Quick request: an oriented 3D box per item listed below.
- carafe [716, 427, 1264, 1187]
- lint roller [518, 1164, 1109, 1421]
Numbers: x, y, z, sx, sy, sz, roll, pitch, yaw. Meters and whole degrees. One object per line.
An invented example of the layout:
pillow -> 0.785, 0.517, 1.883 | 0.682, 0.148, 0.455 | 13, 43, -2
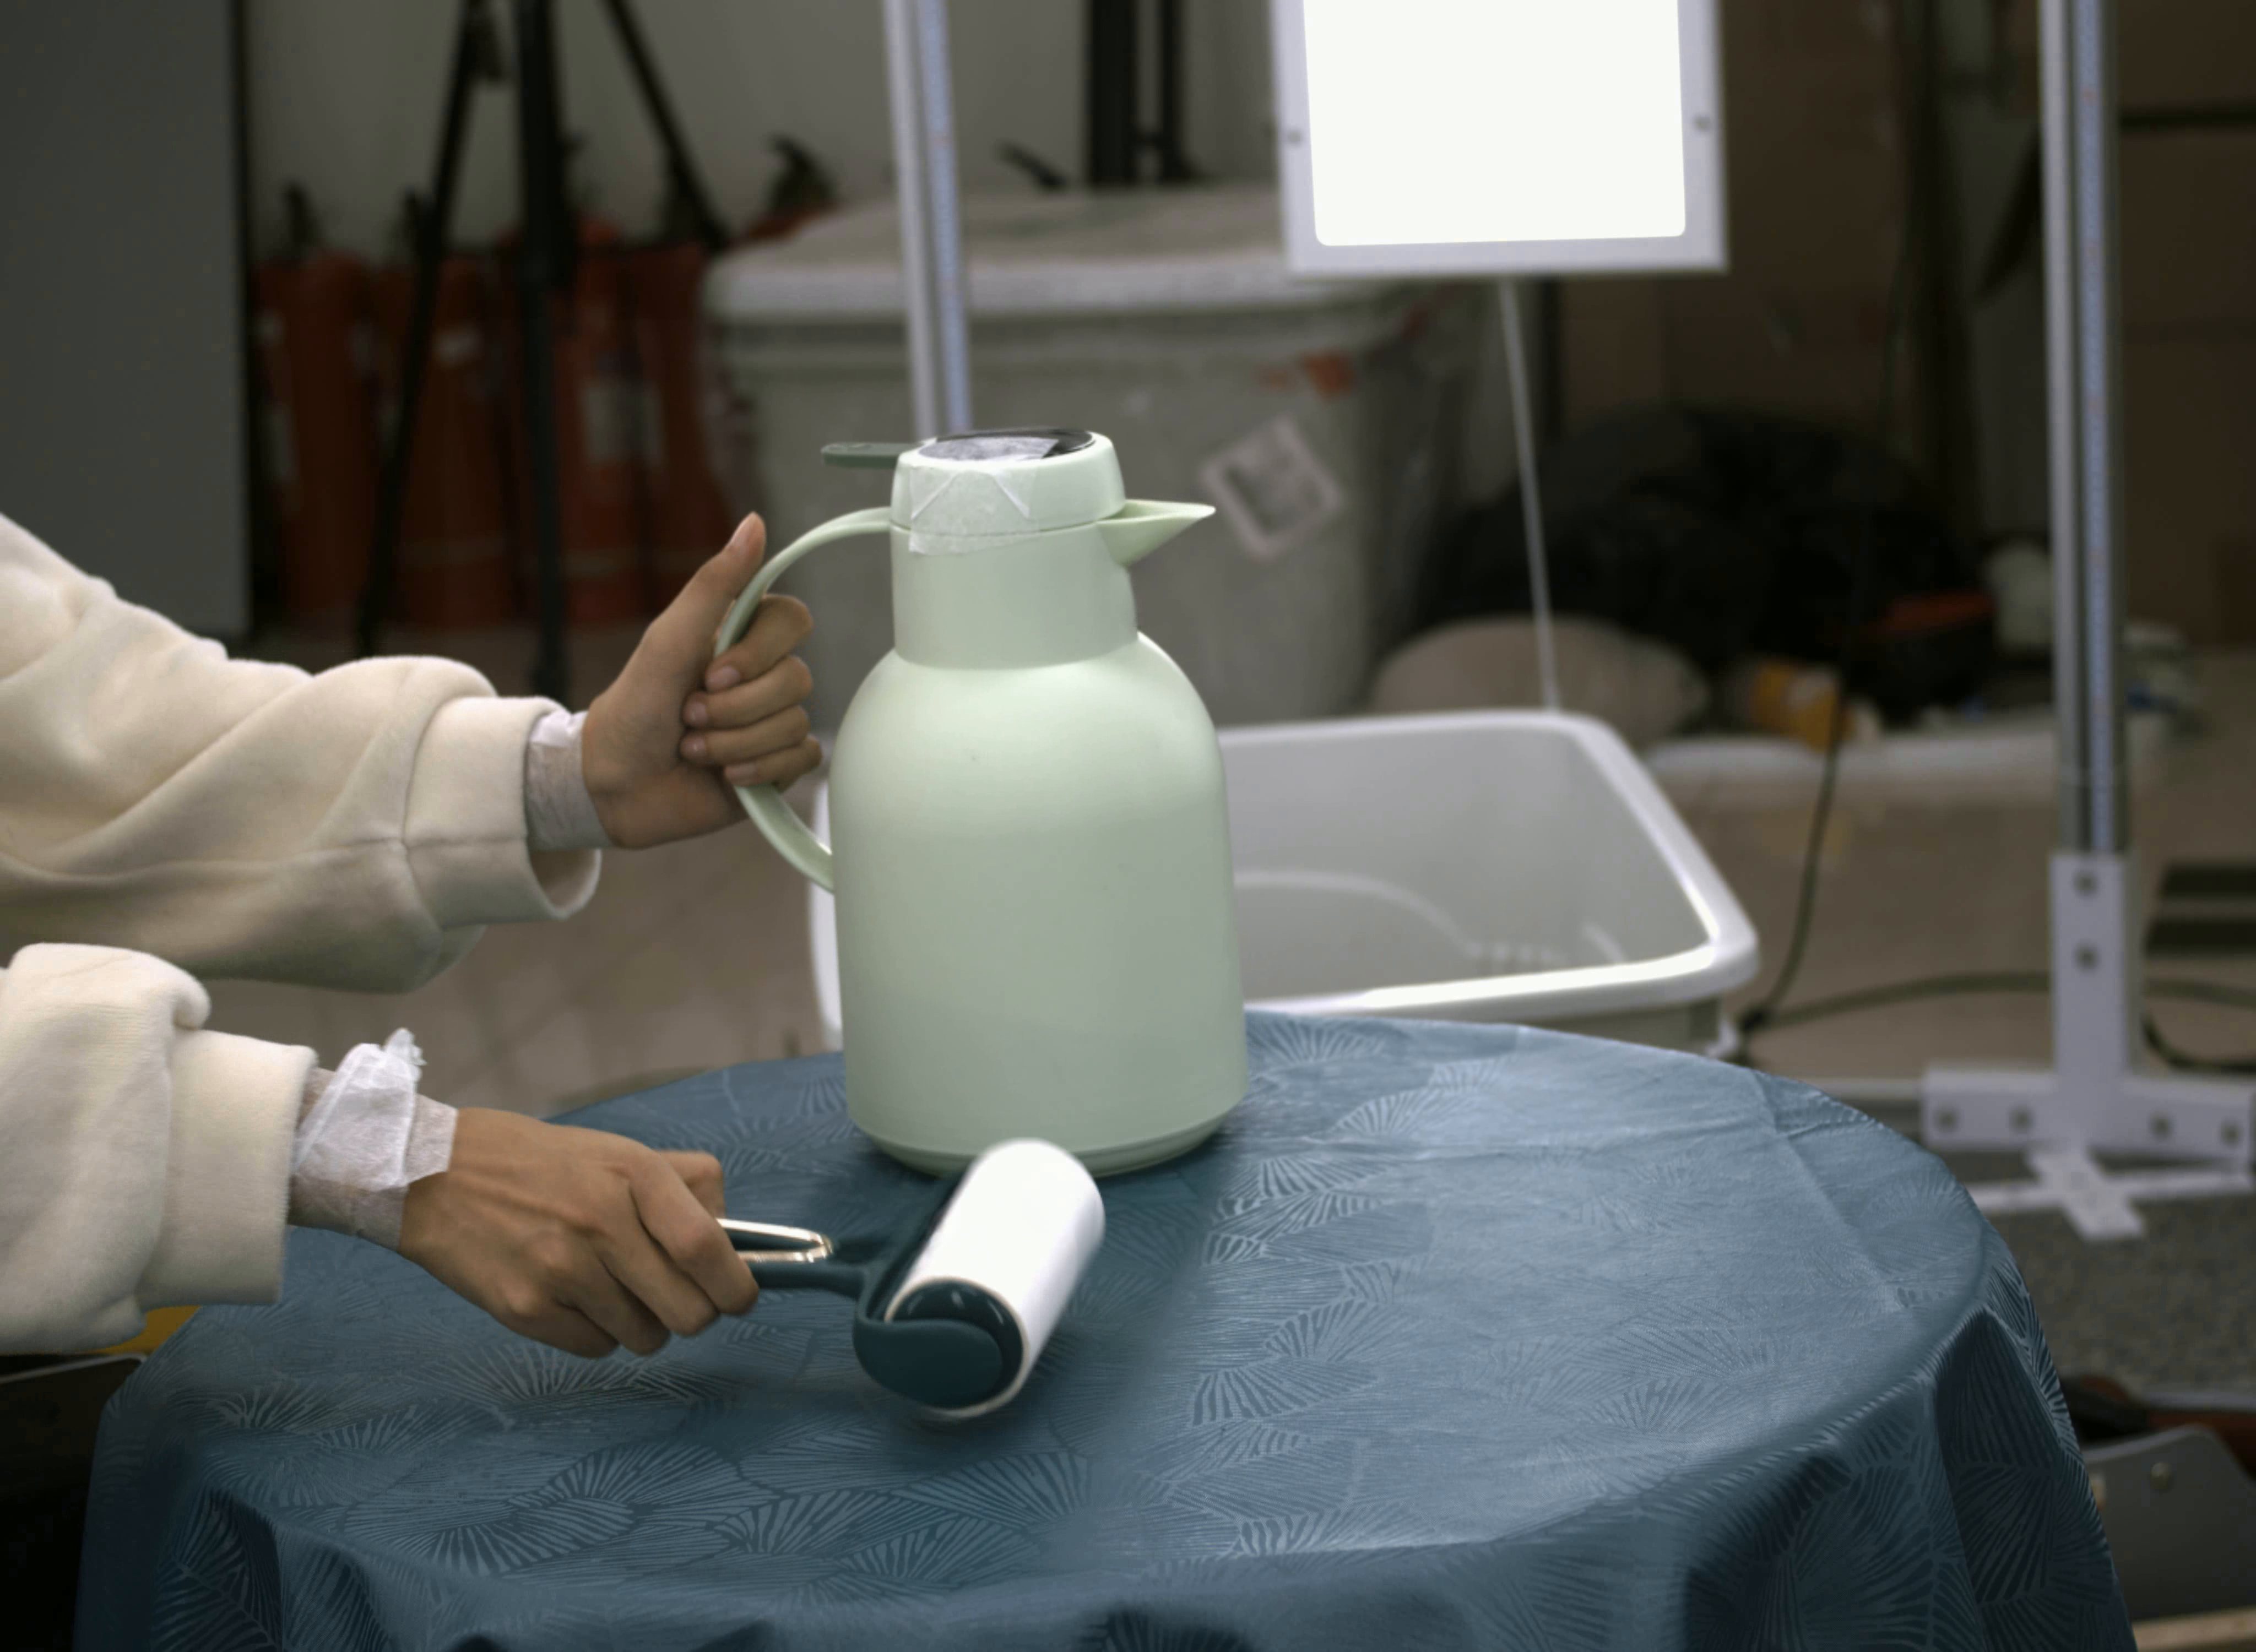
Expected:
carafe -> -0.047, -0.010, 1.948 | 0.189, 0.257, 0.142 | -4, 15, 17
lint roller -> -0.104, 0.132, 1.726 | 0.181, 0.048, 0.132 | 11, 20, 13
